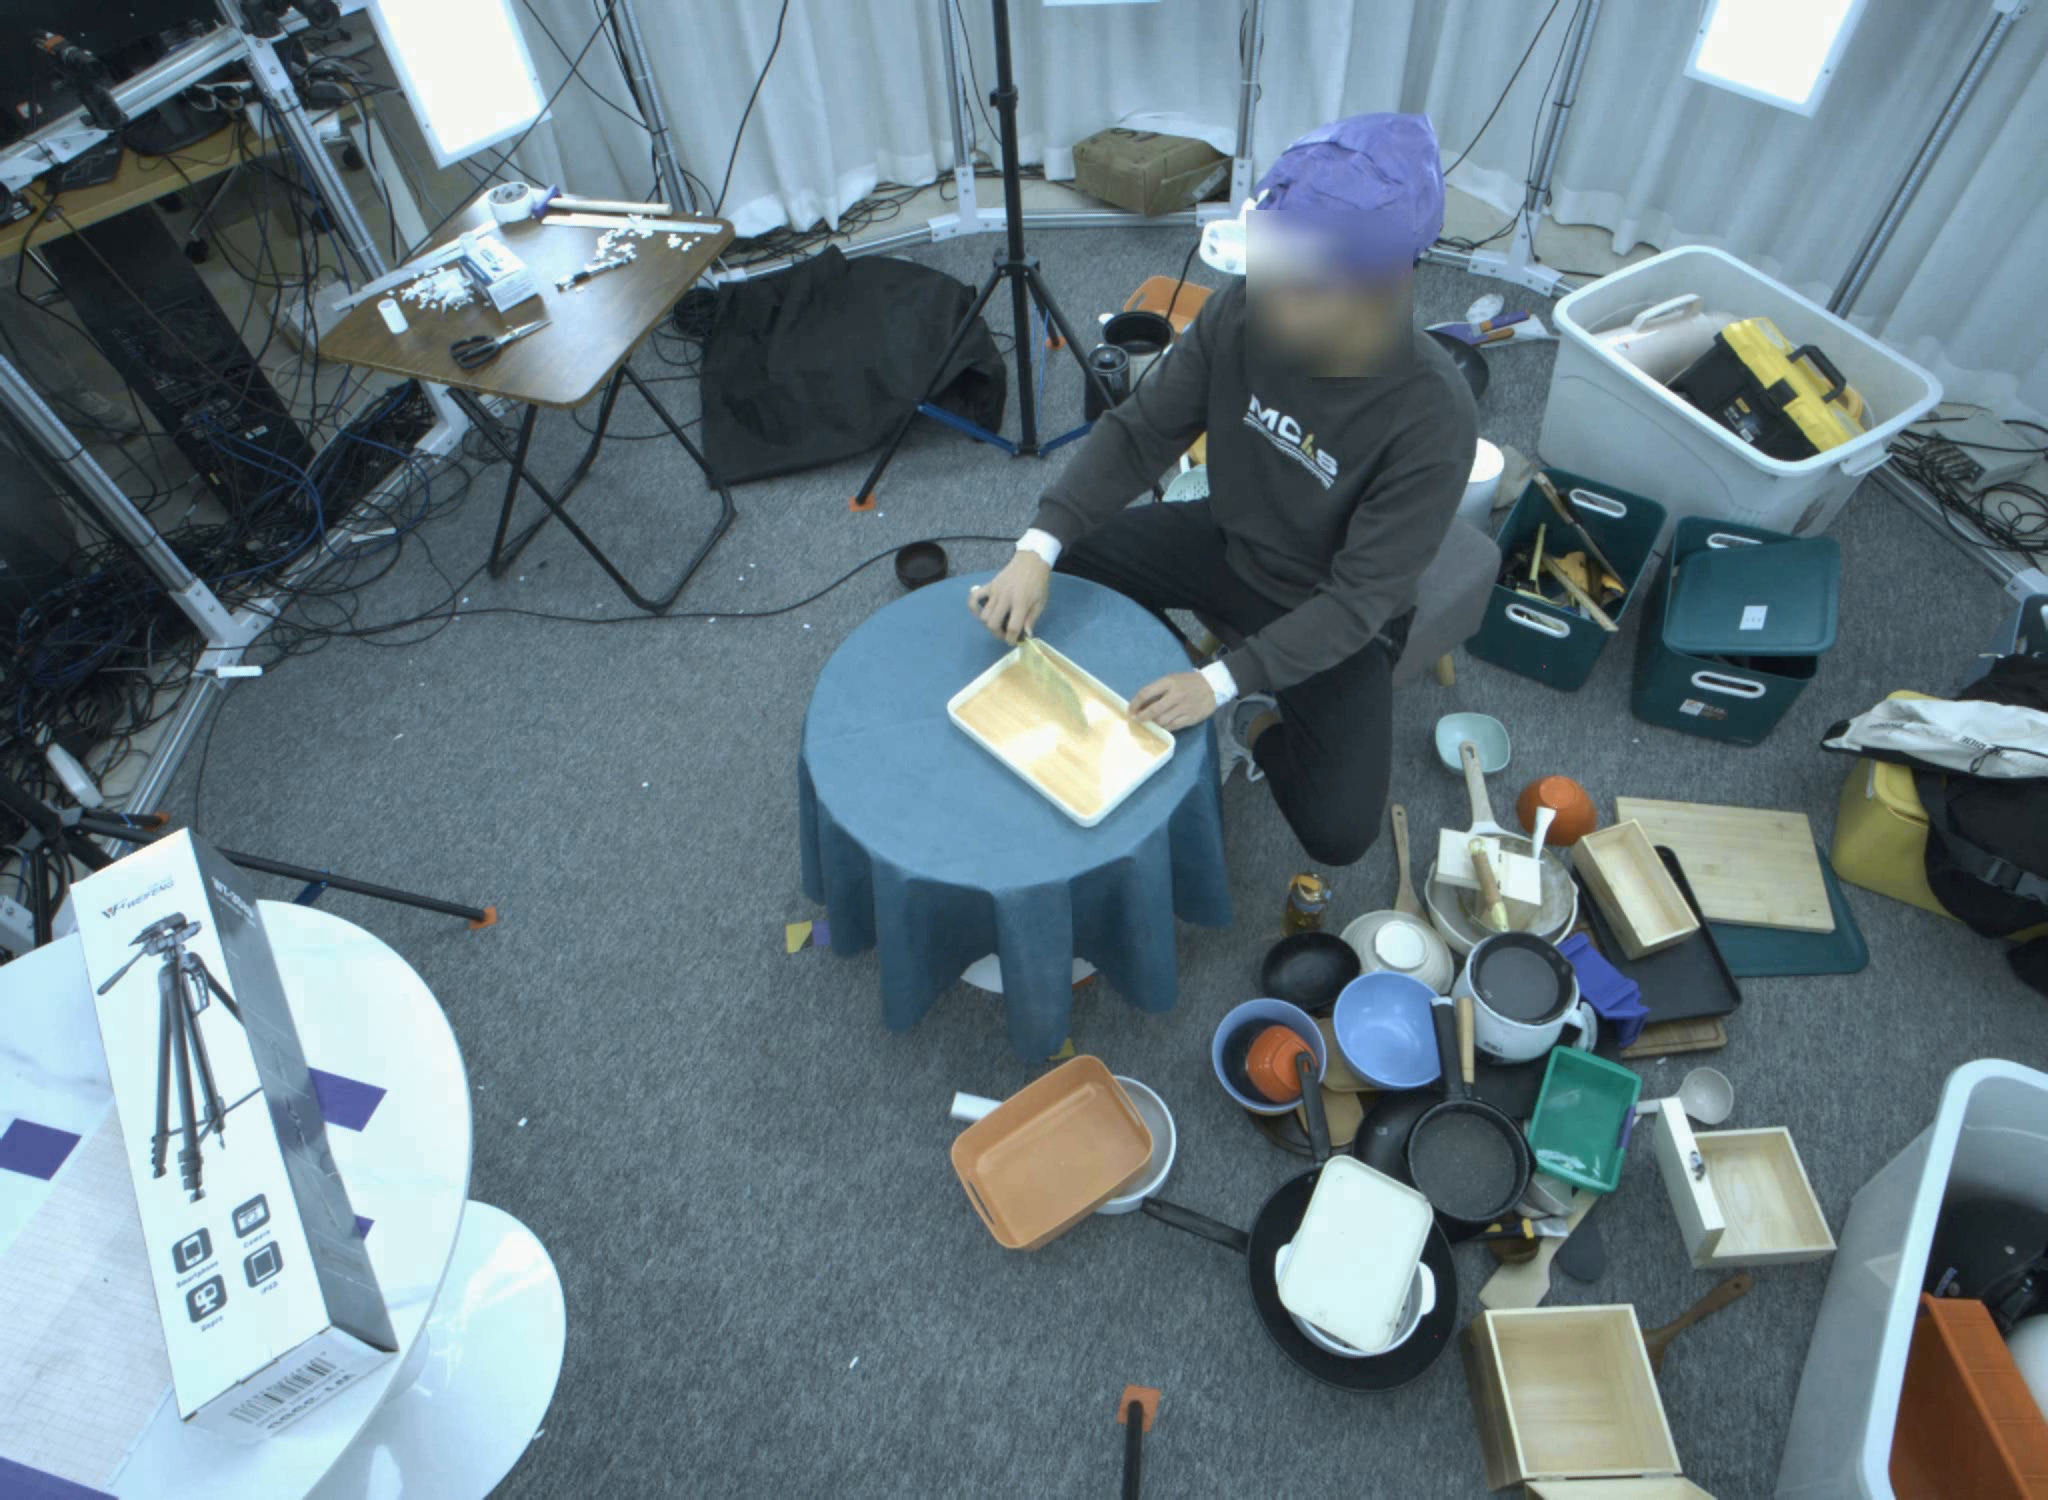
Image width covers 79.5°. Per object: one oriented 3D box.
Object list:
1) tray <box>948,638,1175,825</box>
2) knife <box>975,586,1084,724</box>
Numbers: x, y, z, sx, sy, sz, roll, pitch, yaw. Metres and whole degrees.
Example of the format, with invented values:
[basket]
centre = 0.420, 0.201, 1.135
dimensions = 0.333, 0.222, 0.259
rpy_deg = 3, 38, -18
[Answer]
[tray]
centre = 0.052, -0.033, 1.797
dimensions = 0.193, 0.028, 0.295
rpy_deg = -40, 63, -23
[knife]
centre = 0.007, -0.142, 1.833
dimensions = 0.027, 0.081, 0.284
rpy_deg = -27, 62, -21
